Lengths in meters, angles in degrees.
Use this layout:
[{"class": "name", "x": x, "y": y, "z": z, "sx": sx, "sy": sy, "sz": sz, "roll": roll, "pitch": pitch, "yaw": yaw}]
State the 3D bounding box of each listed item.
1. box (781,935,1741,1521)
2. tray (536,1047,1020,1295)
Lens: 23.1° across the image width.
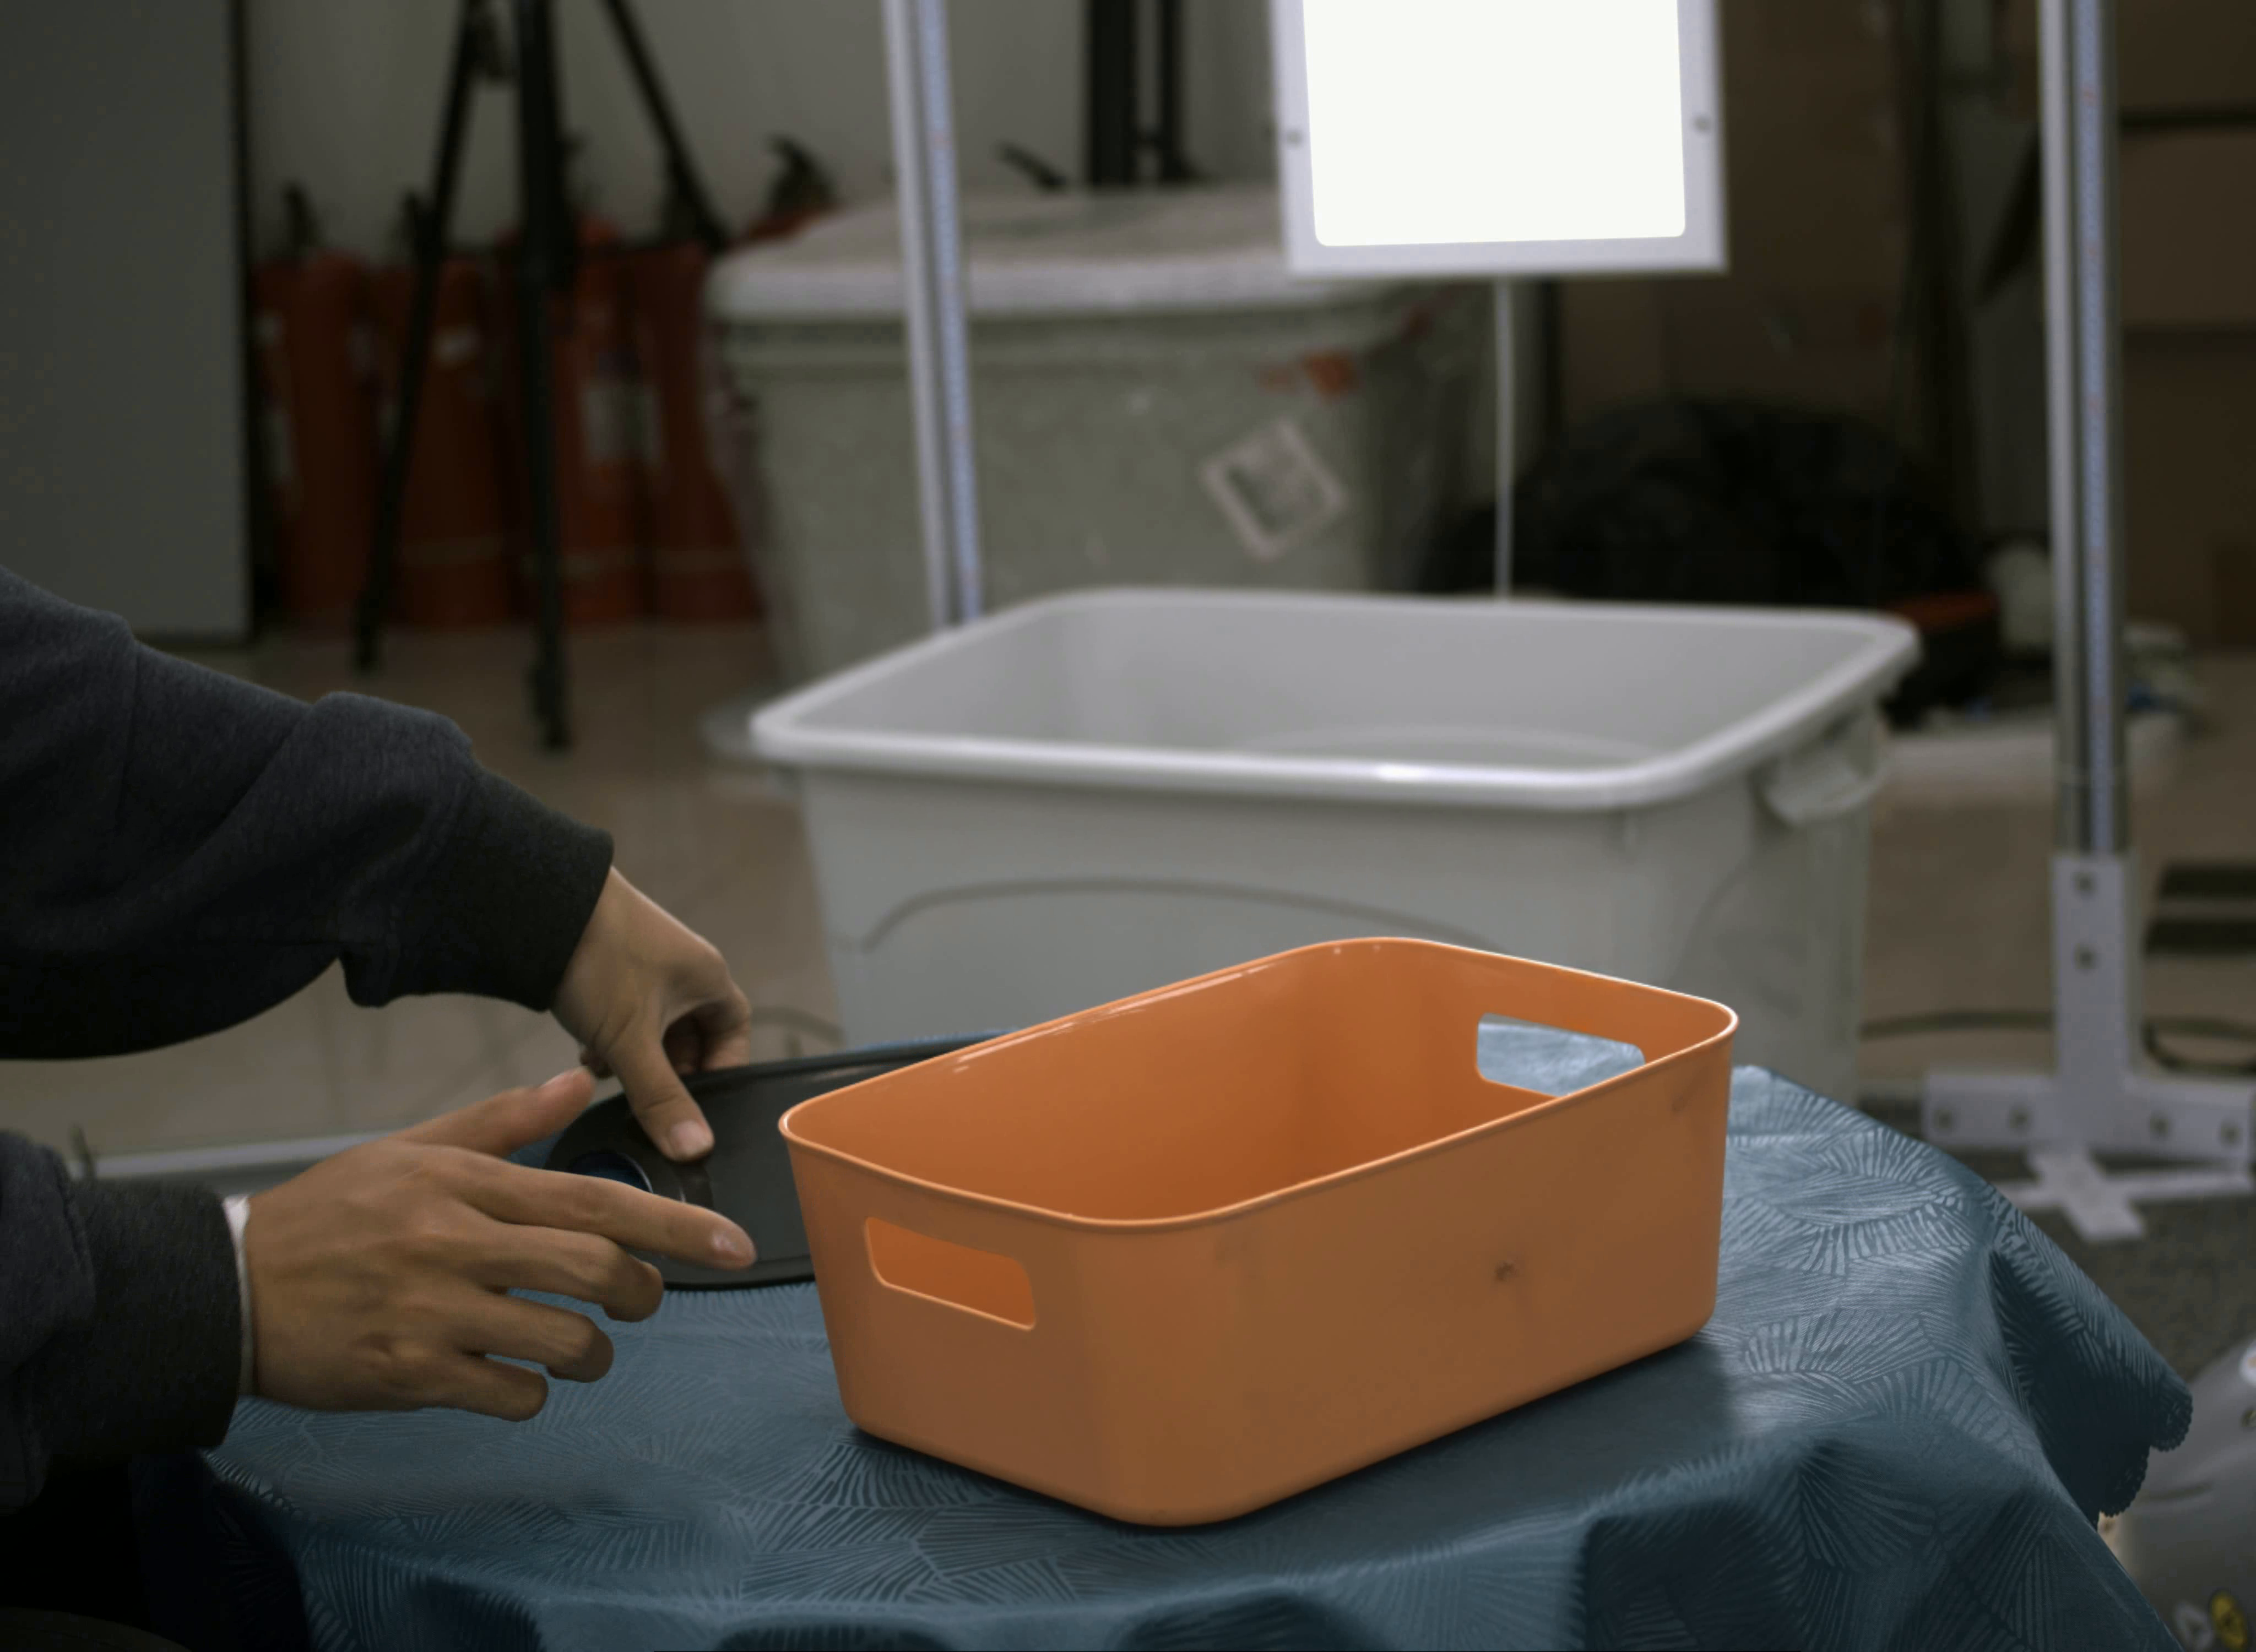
[{"class": "box", "x": 0.044, "y": 0.120, "z": 1.689, "sx": 0.266, "sy": 0.103, "sz": 0.203, "roll": -15, "pitch": 17, "yaw": -38}, {"class": "tray", "x": -0.046, "y": 0.113, "z": 1.939, "sx": 0.322, "sy": 0.010, "sz": 0.212, "roll": -7, "pitch": 17, "yaw": -7}]
